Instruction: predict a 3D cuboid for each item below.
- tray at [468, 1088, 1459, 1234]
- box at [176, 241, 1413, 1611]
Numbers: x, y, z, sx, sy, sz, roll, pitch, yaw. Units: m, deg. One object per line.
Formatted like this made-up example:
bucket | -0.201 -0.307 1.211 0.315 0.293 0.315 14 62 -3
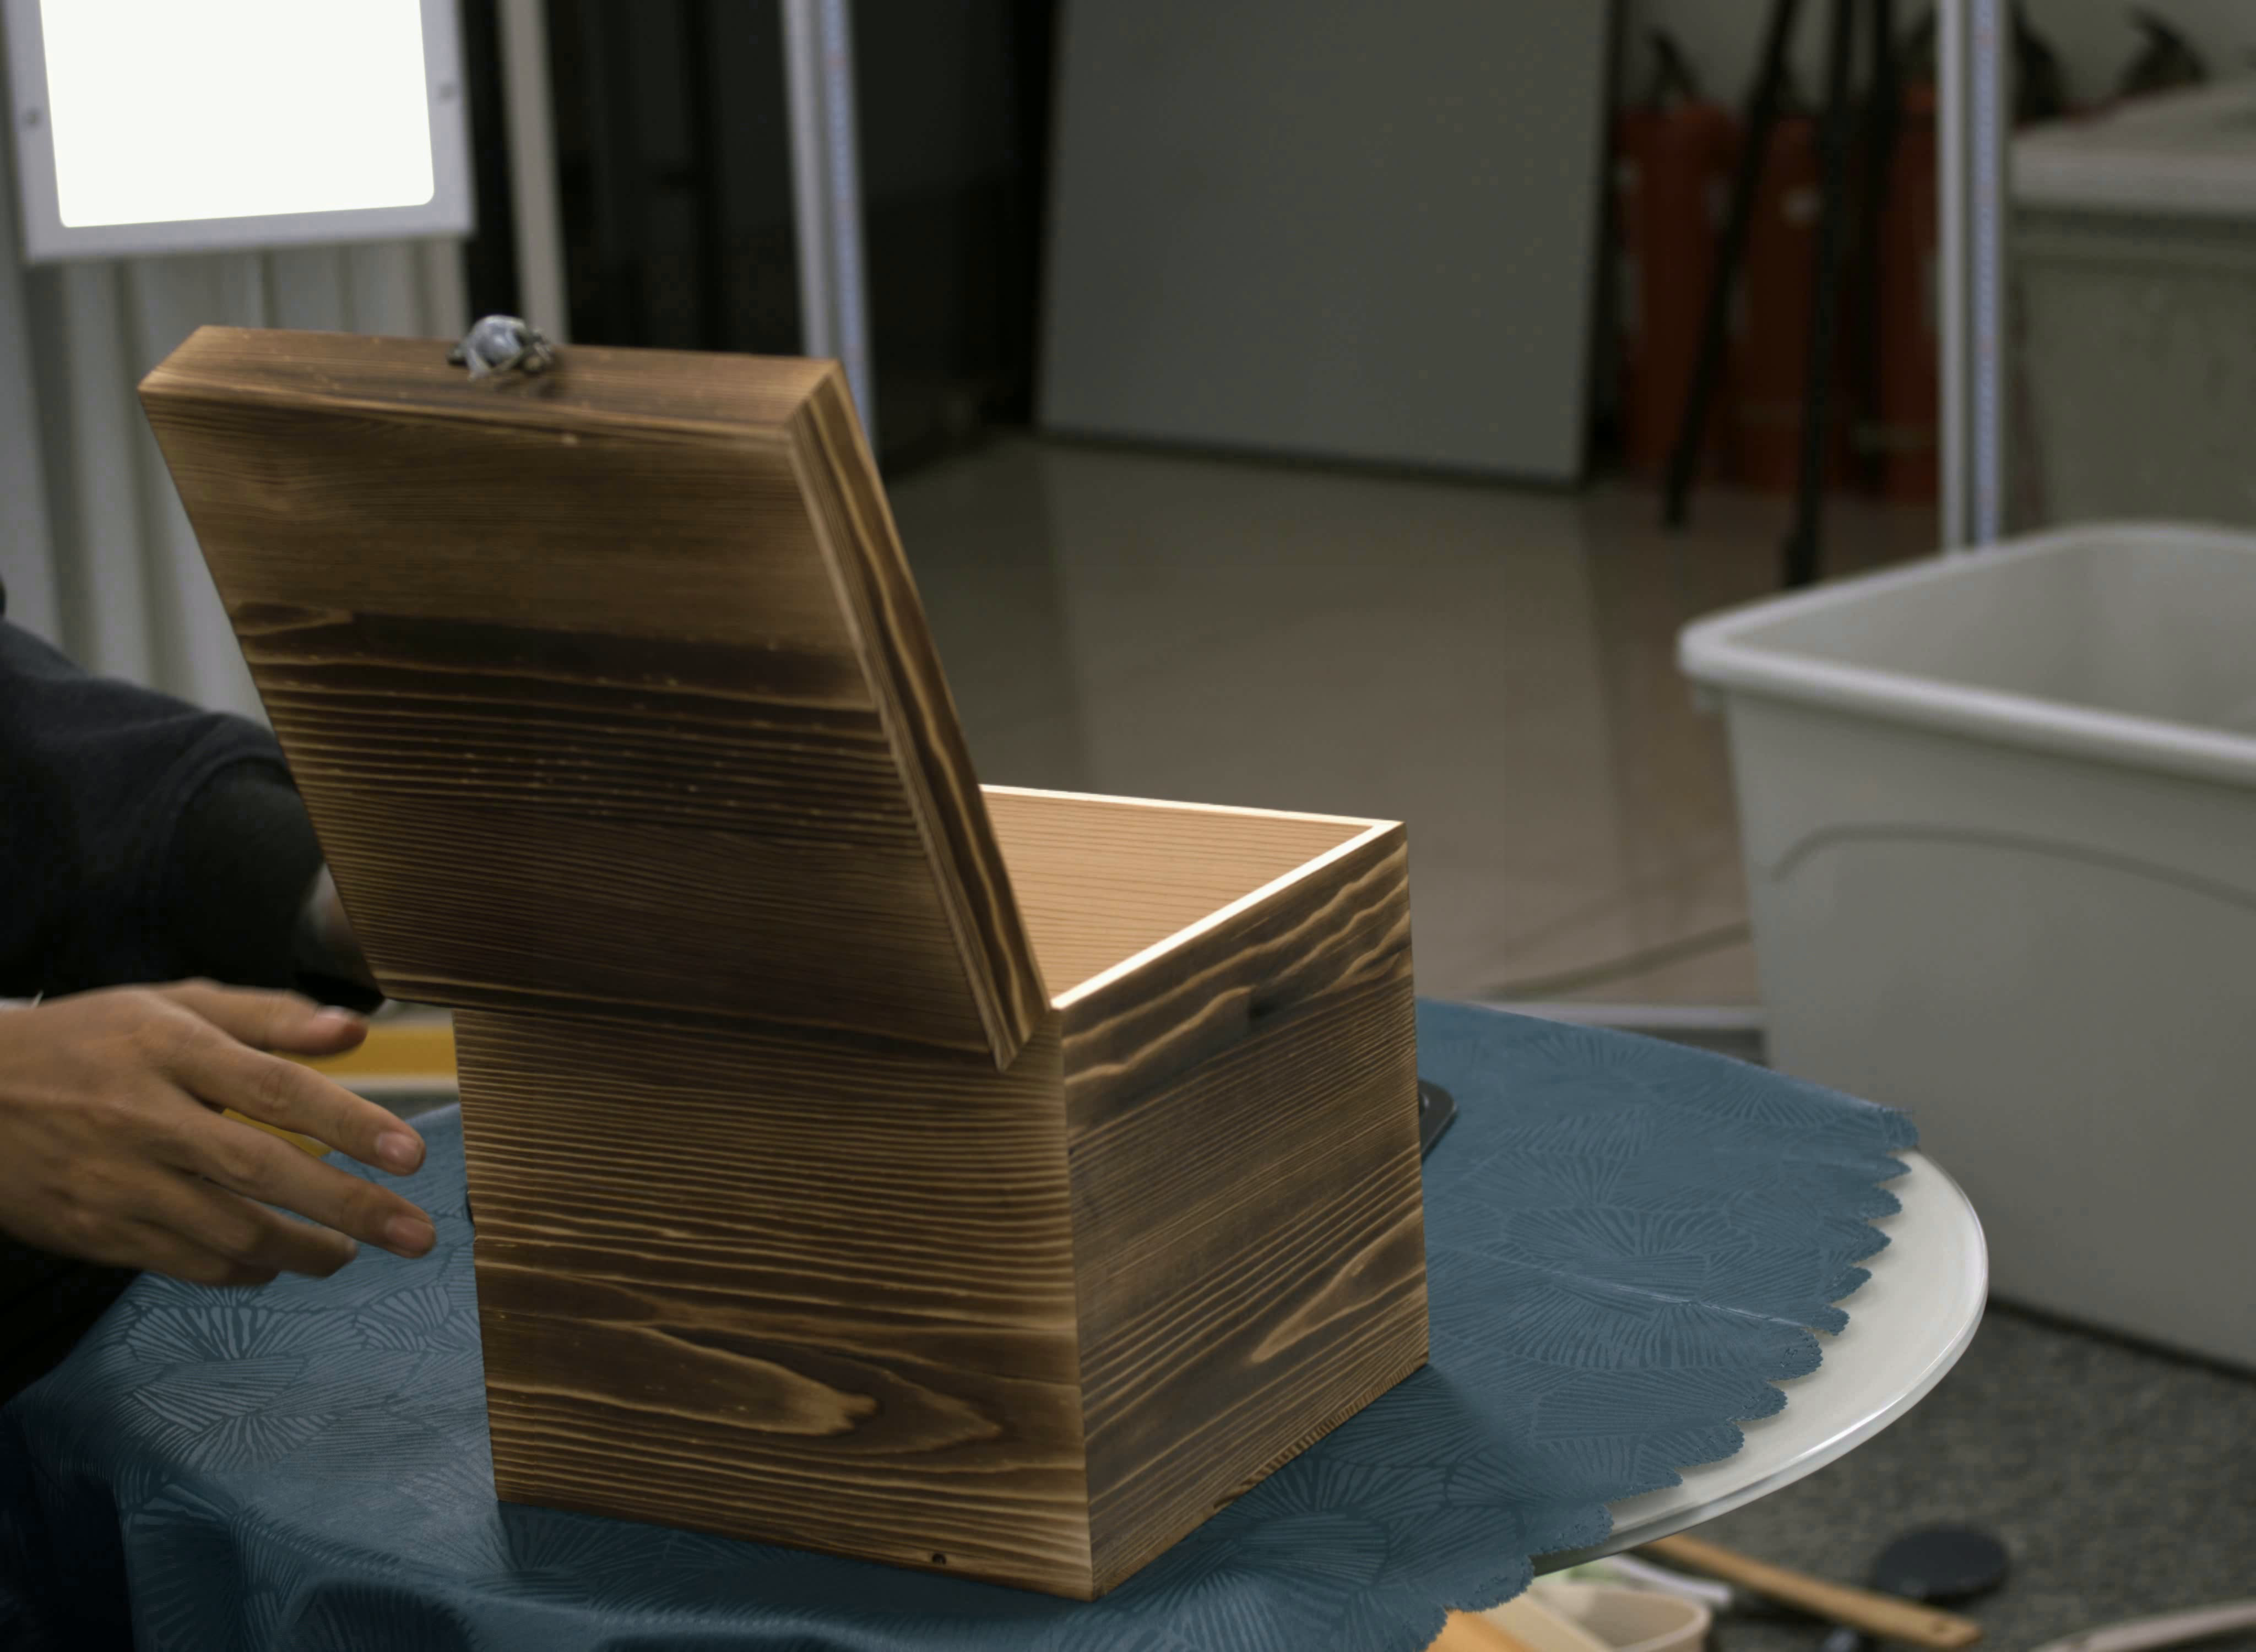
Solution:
tray | -0.060 0.112 1.811 0.324 0.010 0.209 1 14 18
box | -0.078 0.011 1.475 0.209 0.379 0.317 5 16 30
